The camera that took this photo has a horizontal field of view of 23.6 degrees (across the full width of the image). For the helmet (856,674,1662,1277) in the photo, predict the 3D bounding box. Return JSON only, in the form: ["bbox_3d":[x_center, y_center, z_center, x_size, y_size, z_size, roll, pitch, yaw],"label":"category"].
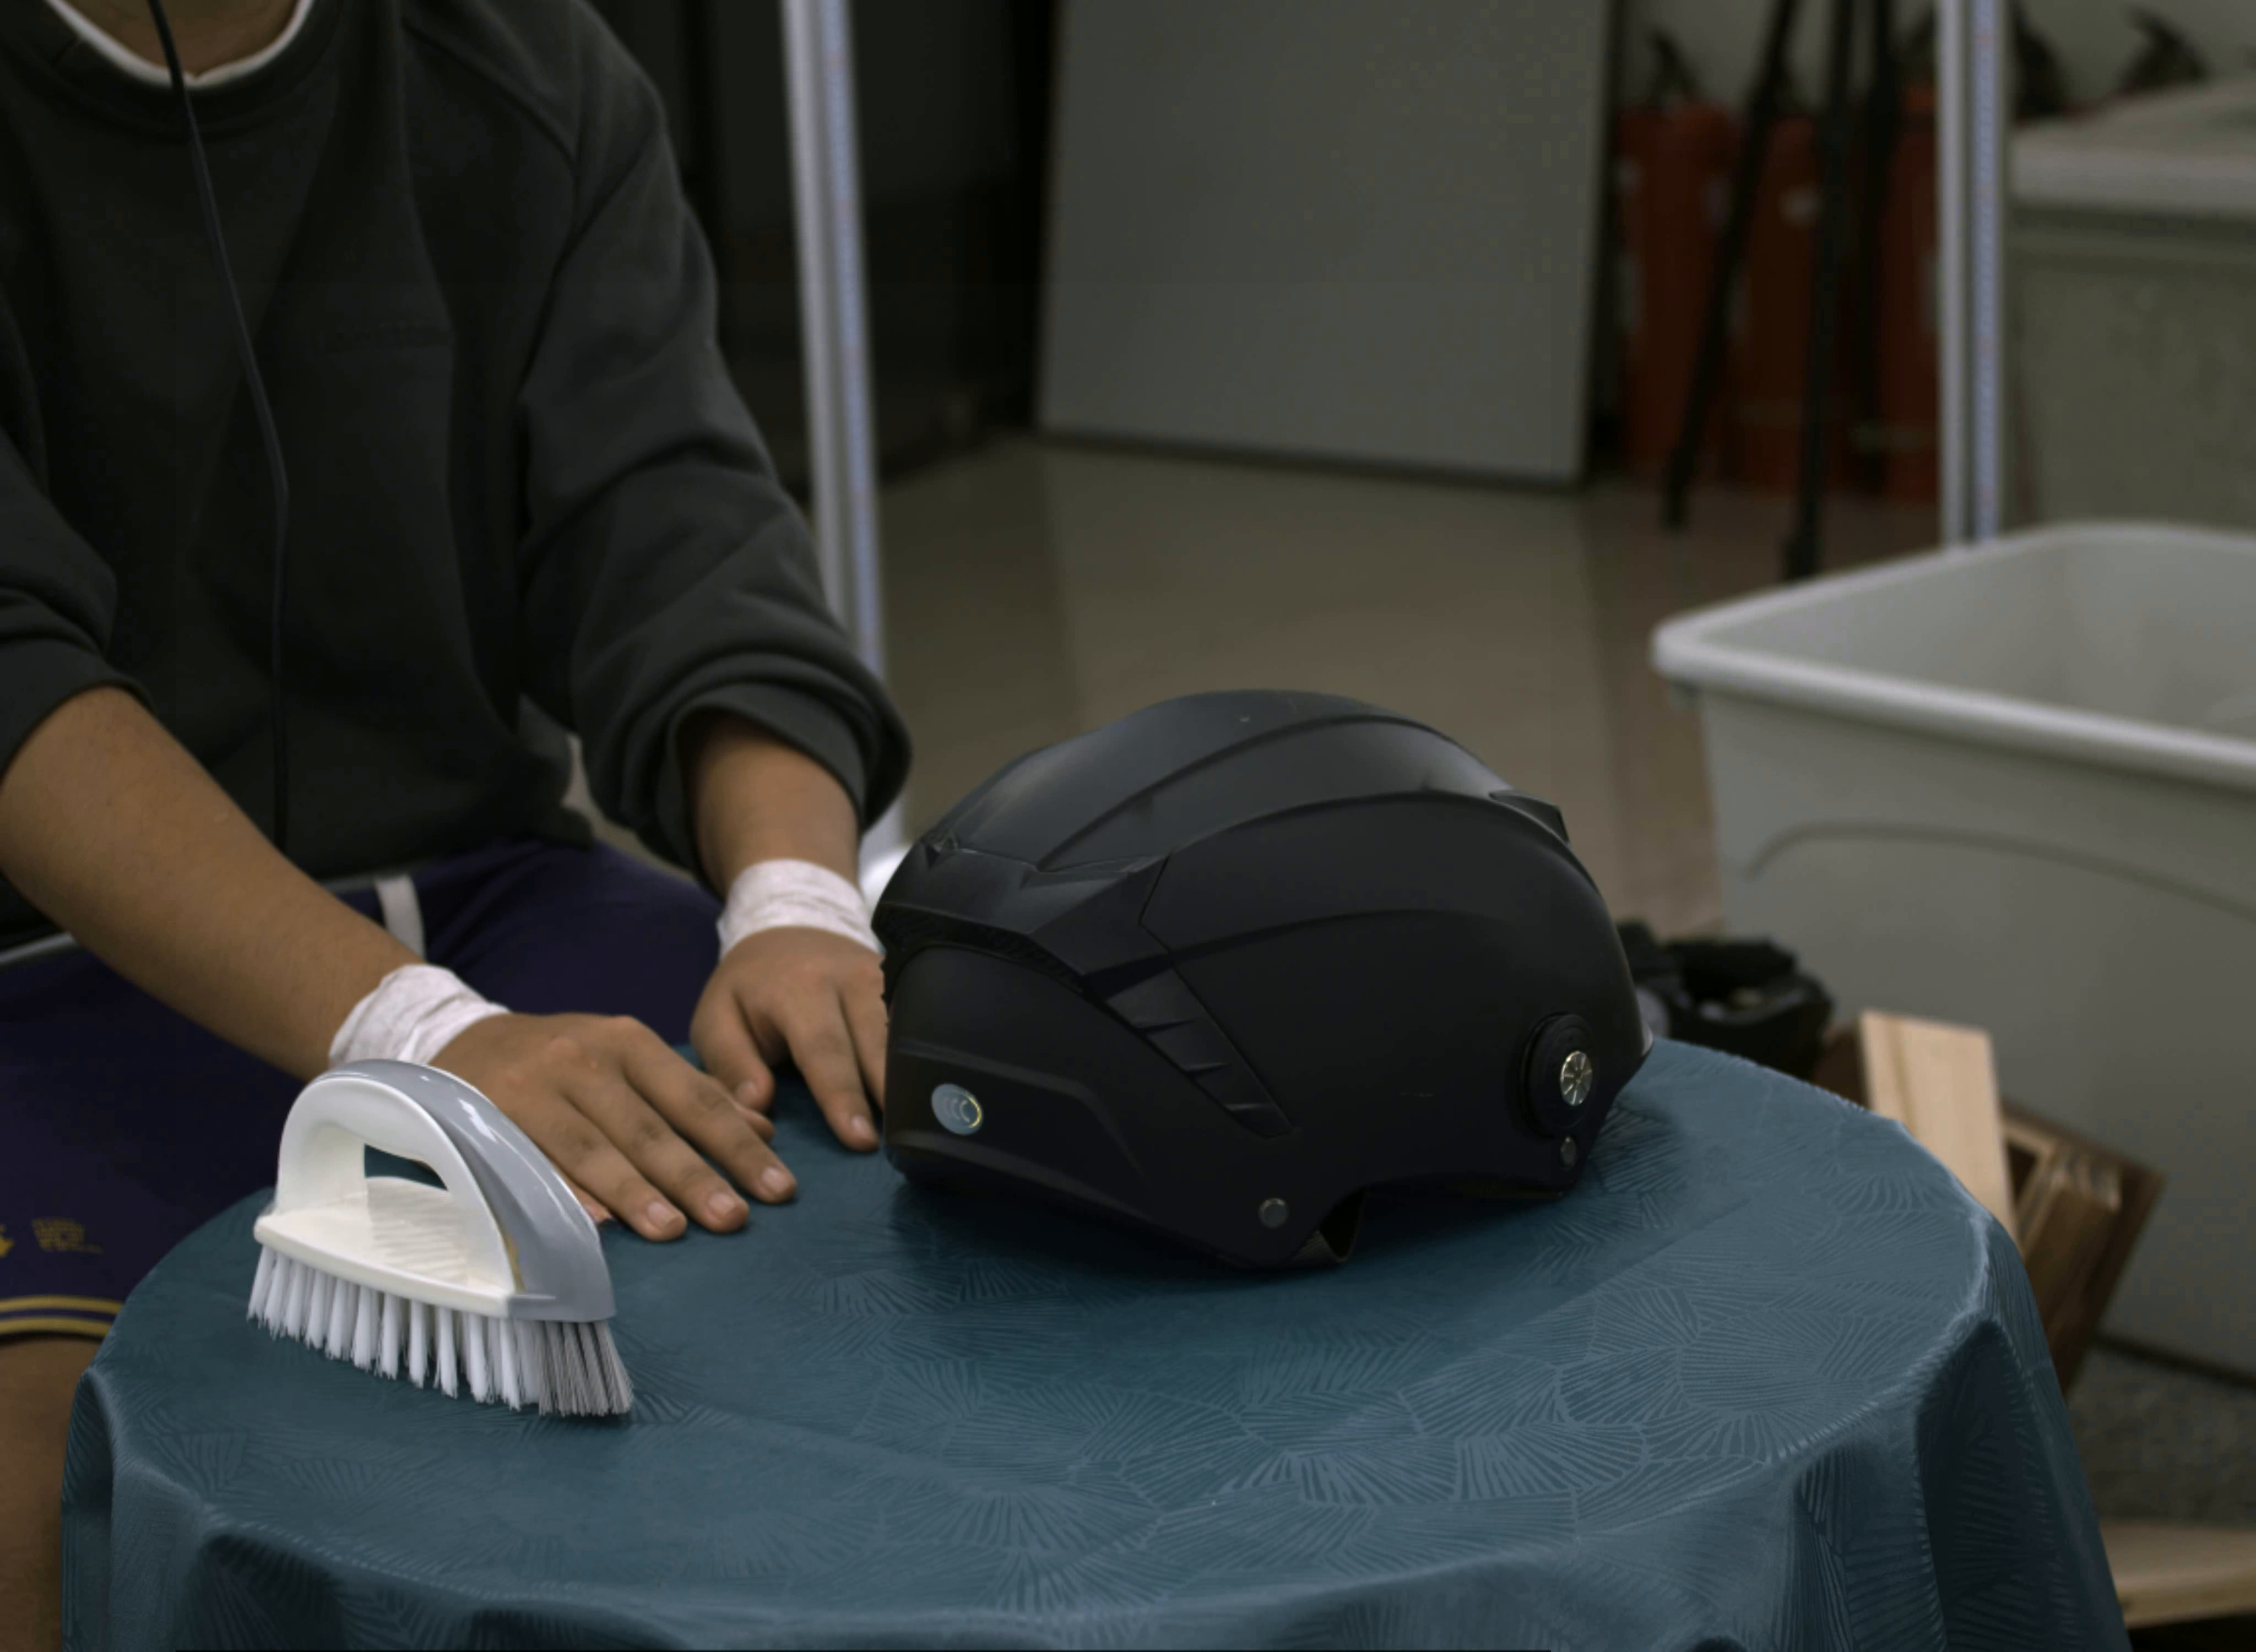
[{"bbox_3d":[0.043,0.037,1.765,0.271,0.174,0.249,-20,21,-38],"label":"helmet"}]

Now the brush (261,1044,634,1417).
[{"bbox_3d":[-0.203,0.119,1.644,0.060,0.095,0.177,-15,19,-35],"label":"brush"}]
